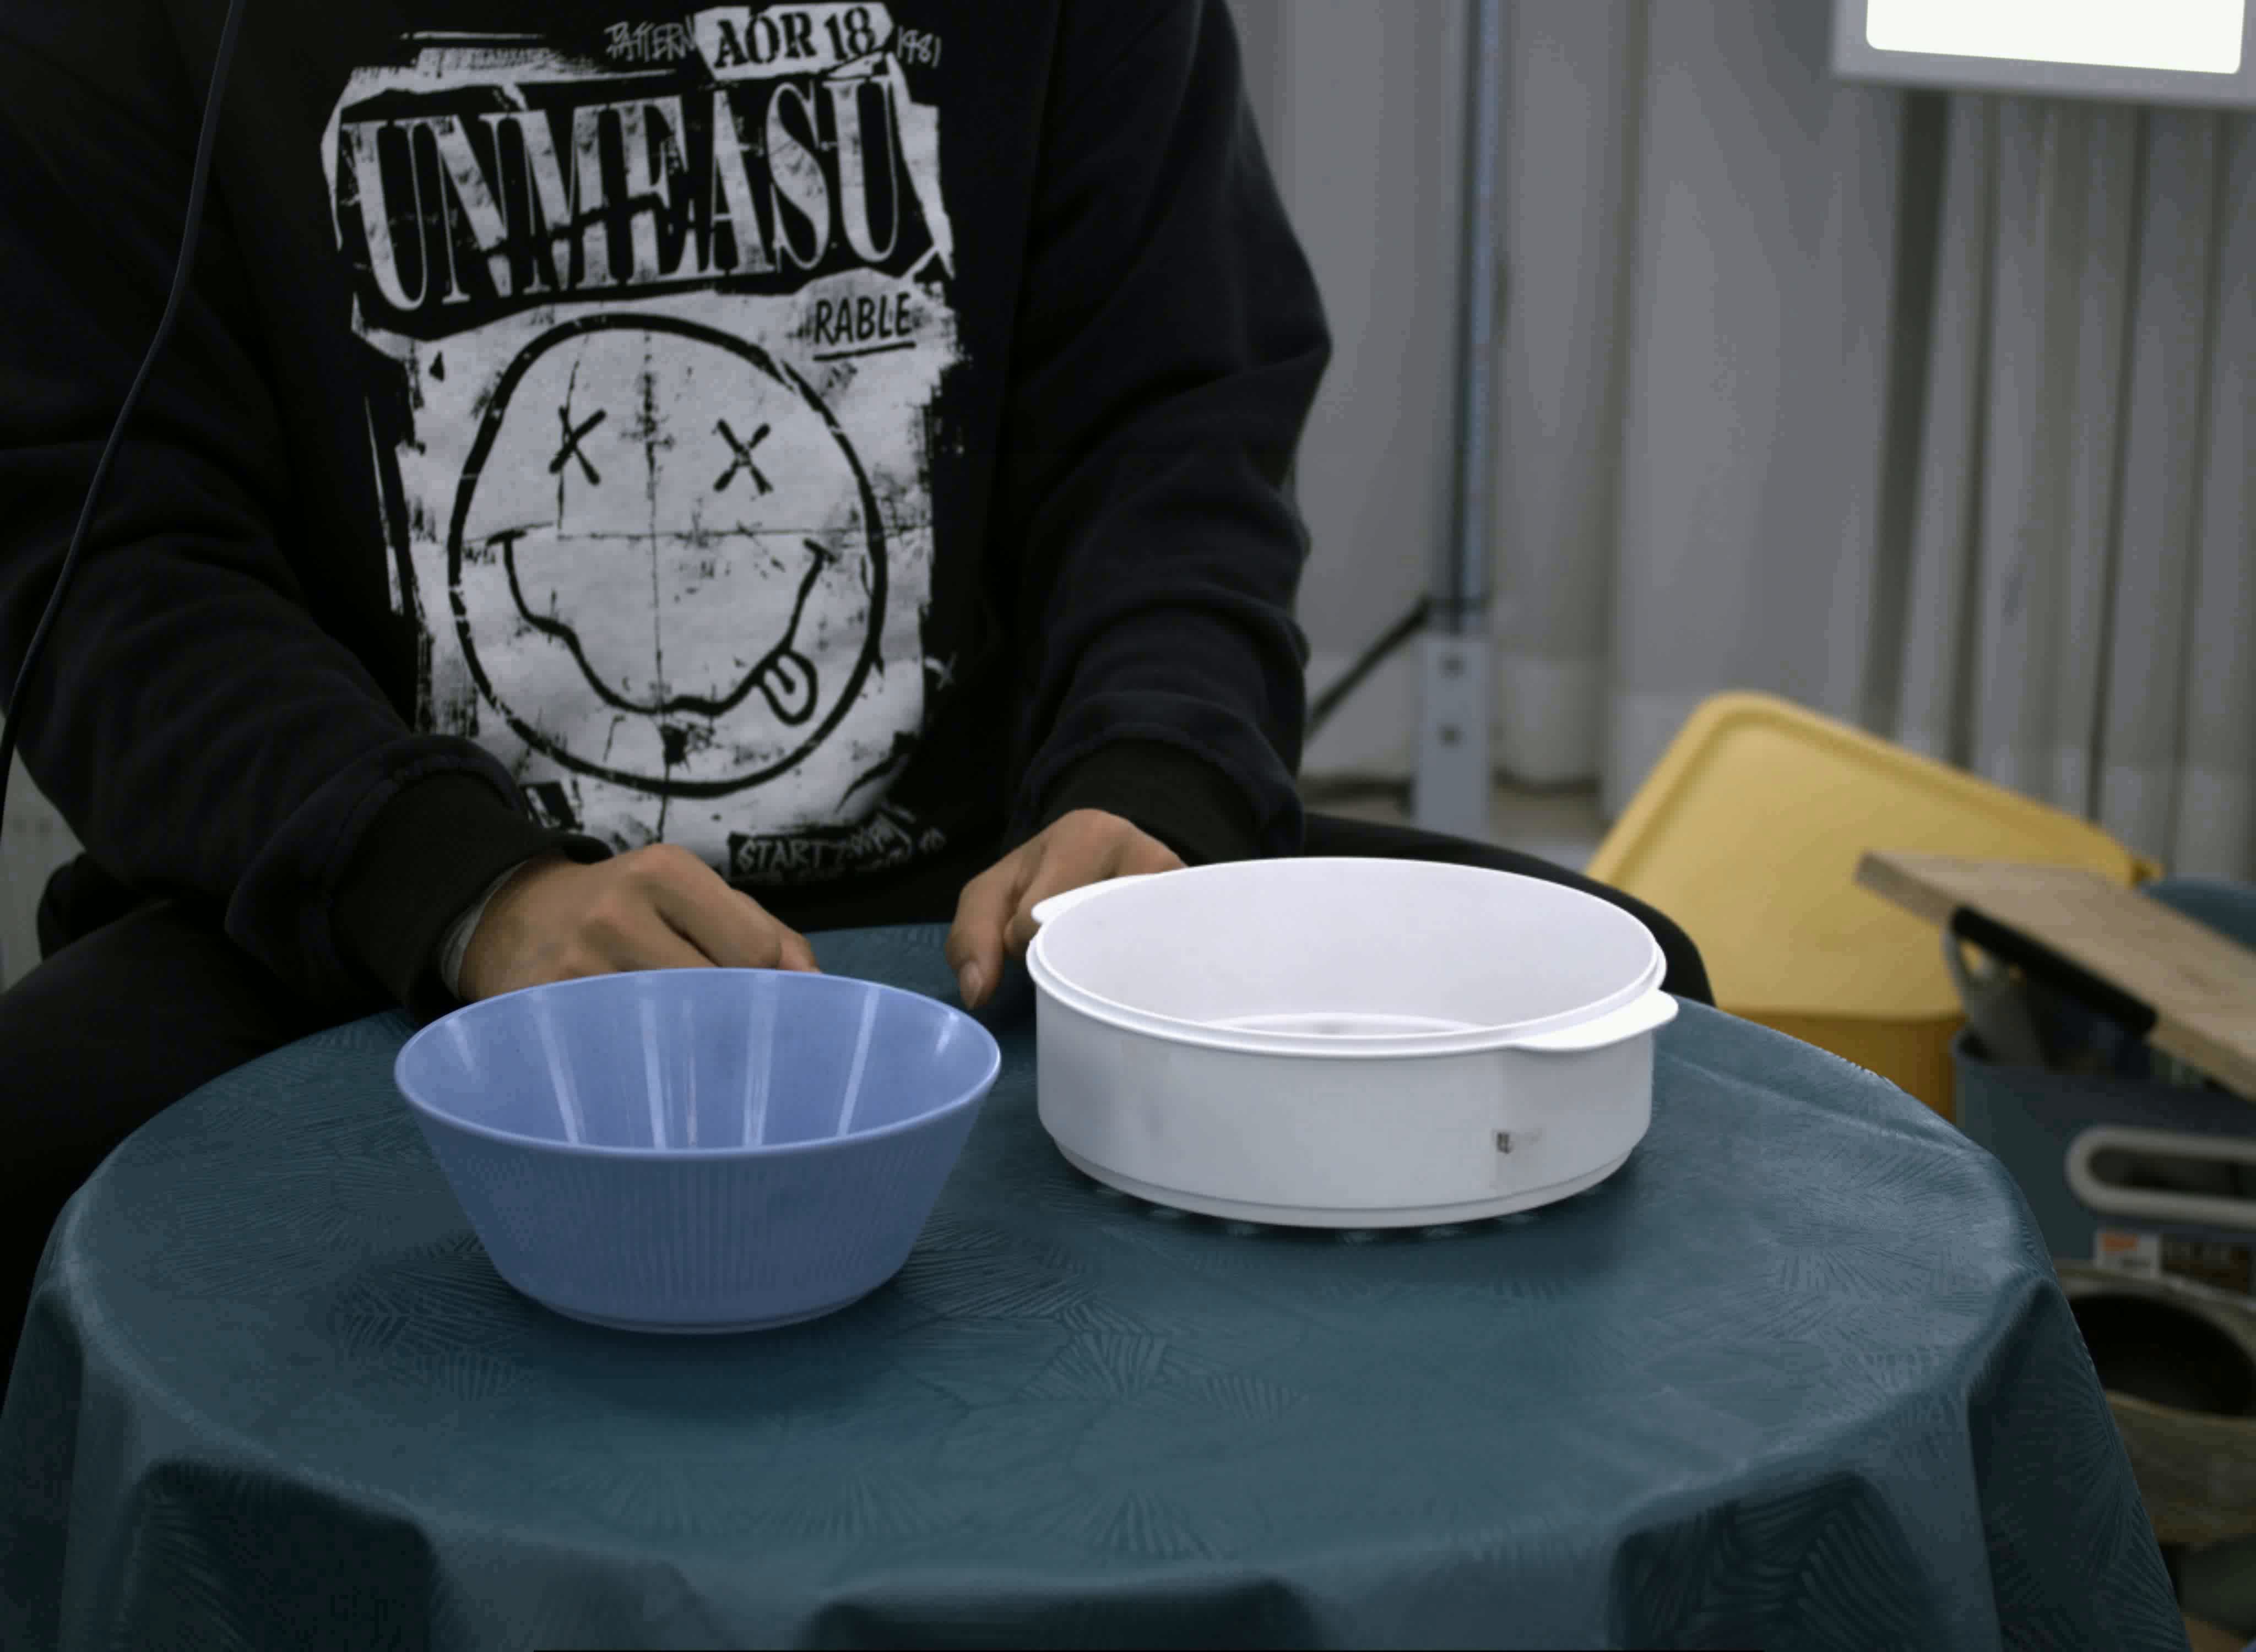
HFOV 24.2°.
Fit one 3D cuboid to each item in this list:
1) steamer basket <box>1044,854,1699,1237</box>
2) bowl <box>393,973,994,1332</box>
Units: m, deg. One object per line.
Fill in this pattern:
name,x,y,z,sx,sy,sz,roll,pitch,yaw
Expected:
steamer basket,0.073,0.069,1.658,0.227,0.070,0.203,16,22,38
bowl,-0.127,0.098,1.542,0.175,0.071,0.175,2,15,0
